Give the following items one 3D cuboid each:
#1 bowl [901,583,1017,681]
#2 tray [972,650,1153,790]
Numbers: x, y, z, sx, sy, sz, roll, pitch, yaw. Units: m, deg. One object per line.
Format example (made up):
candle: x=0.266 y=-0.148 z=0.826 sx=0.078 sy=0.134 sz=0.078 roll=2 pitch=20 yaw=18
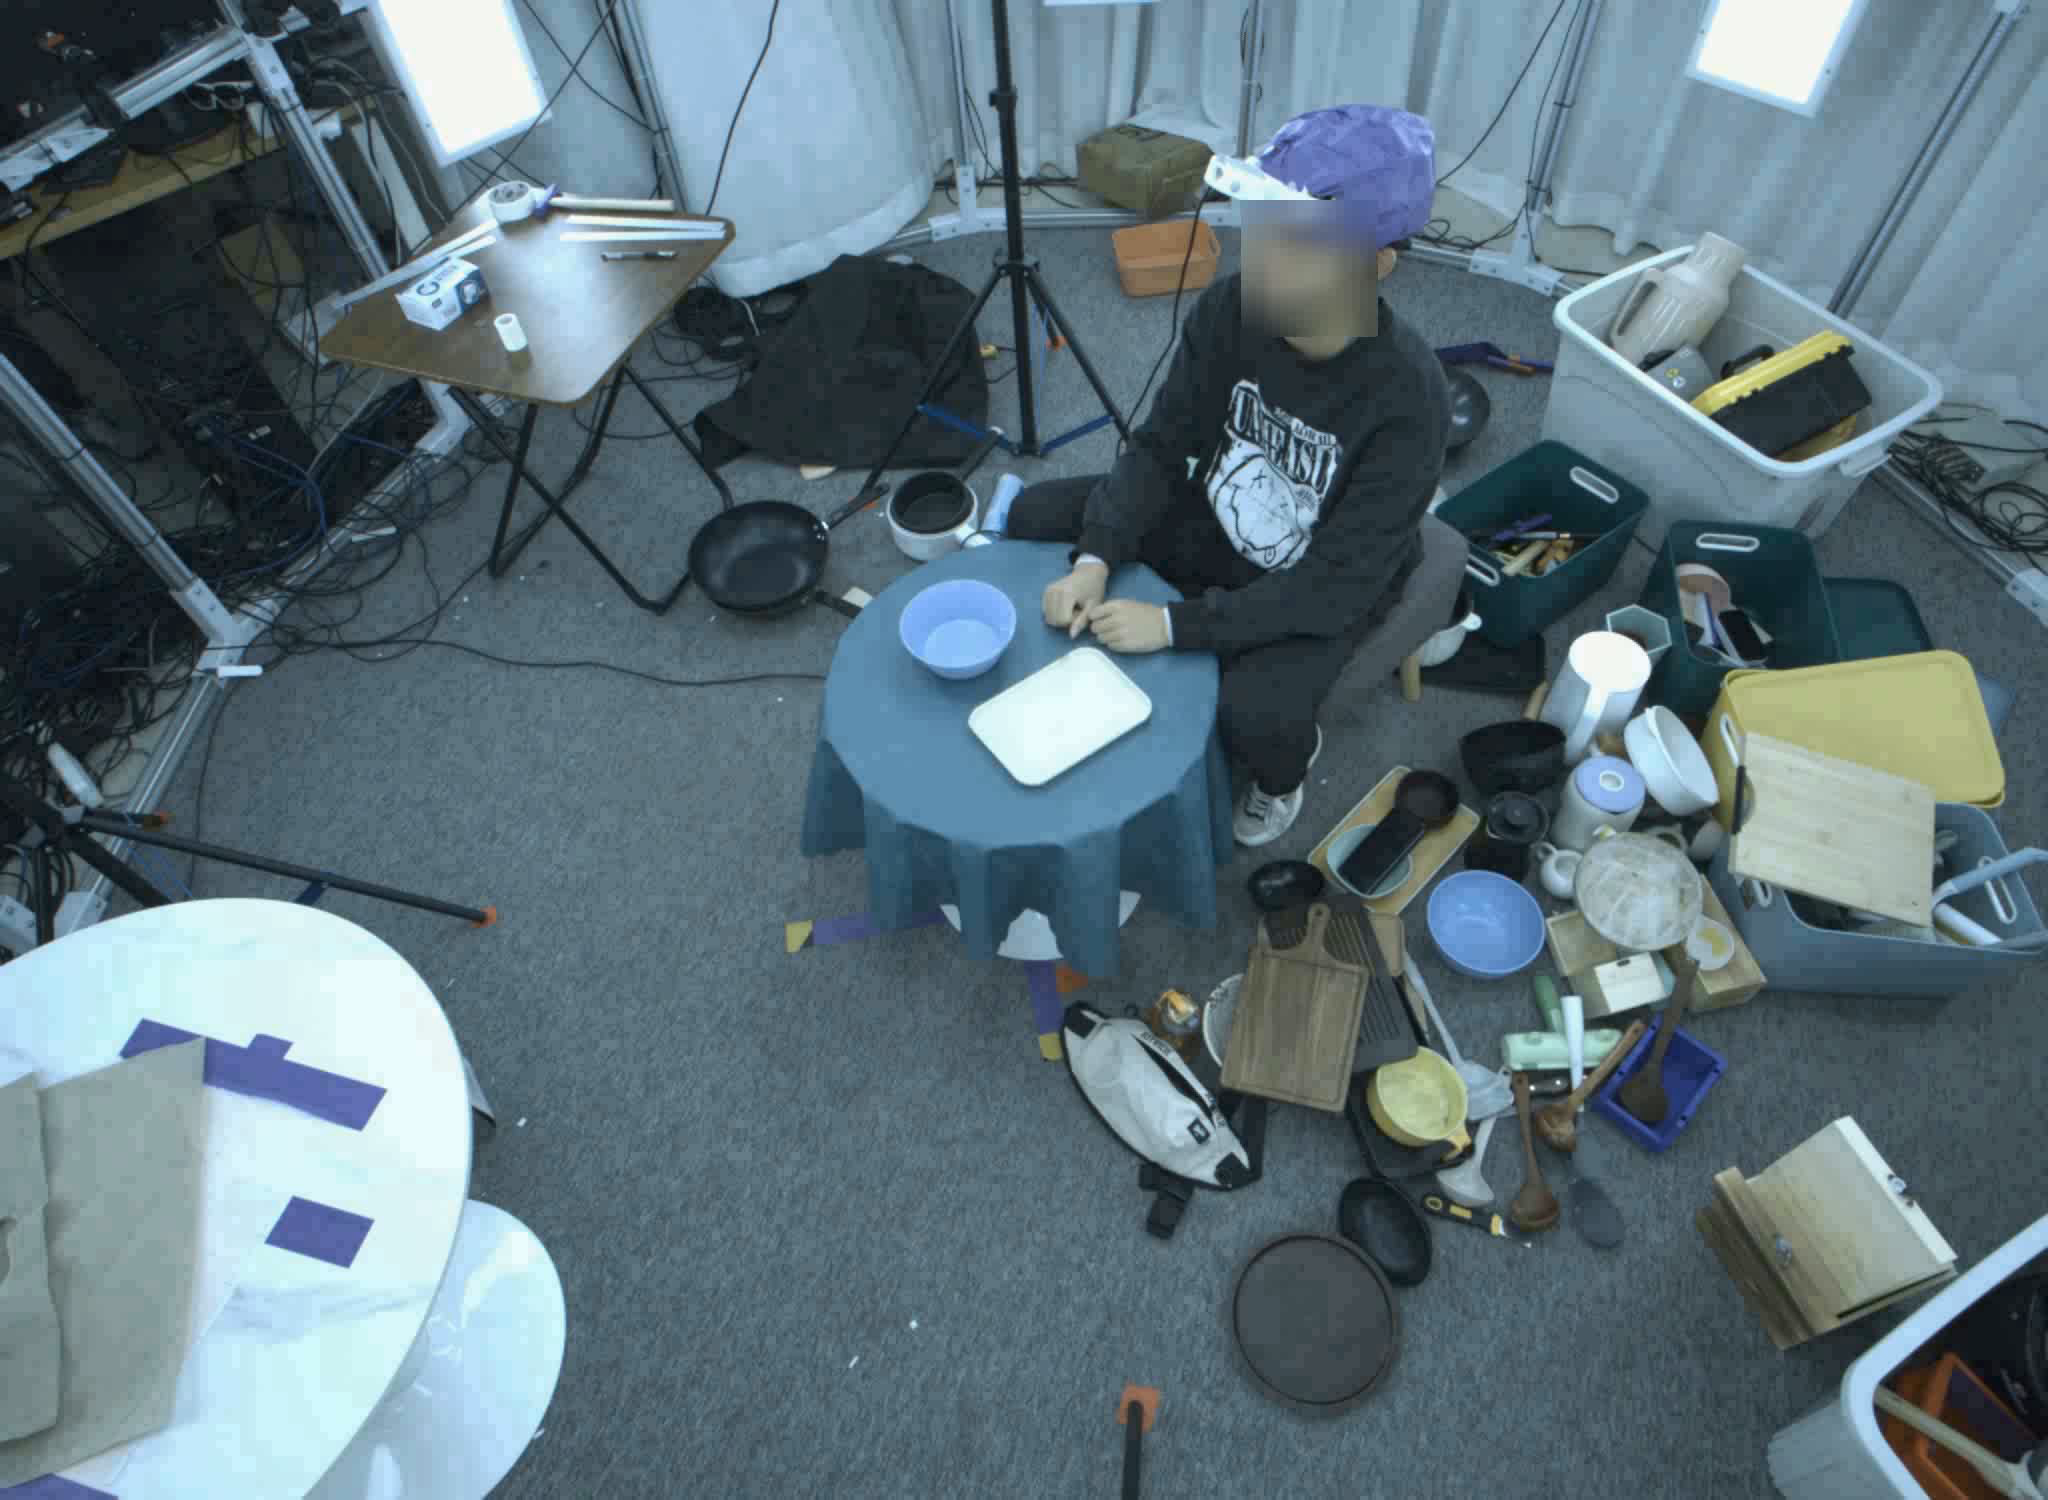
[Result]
bowl: x=-0.097 y=-0.171 z=1.877 sx=0.176 sy=0.071 sz=0.174 roll=0 pitch=55 yaw=1
tray: x=0.057 y=-0.046 z=1.817 sx=0.241 sy=0.017 sz=0.168 roll=-32 pitch=60 yaw=-19
